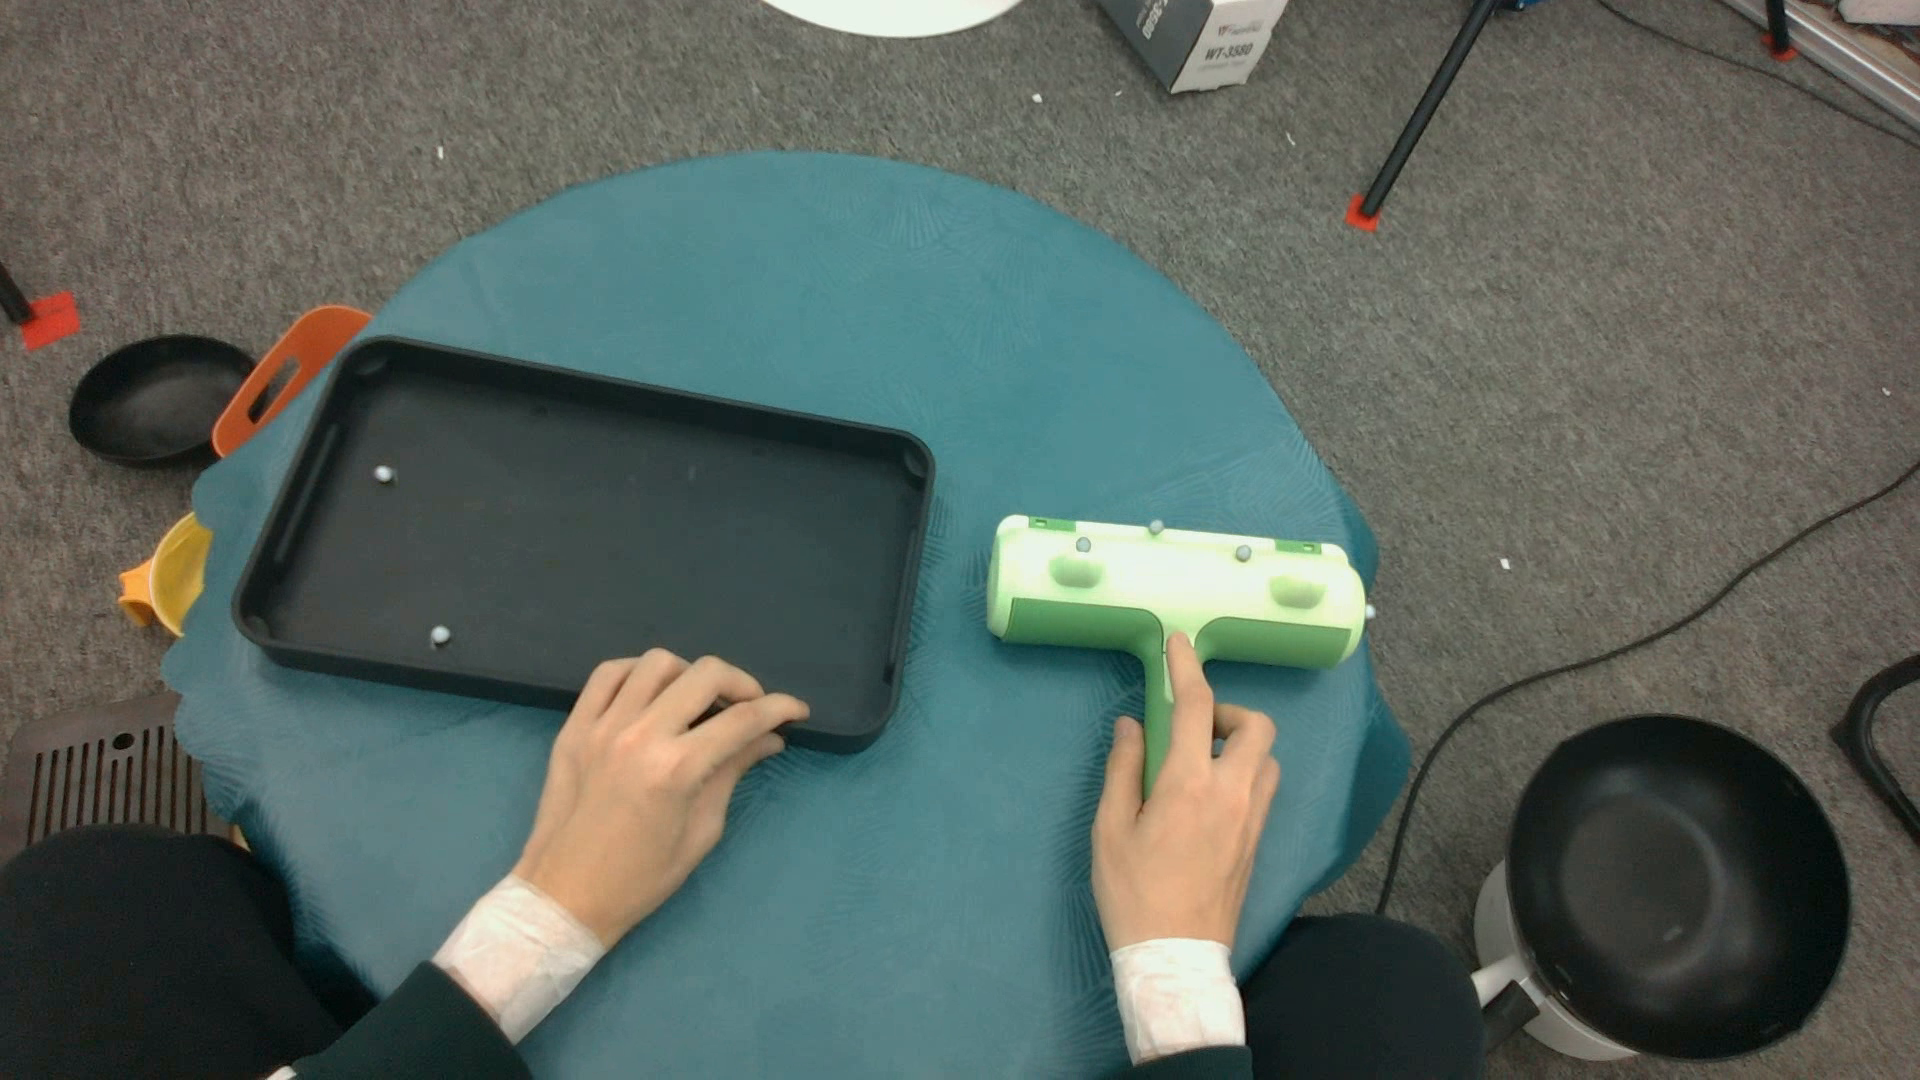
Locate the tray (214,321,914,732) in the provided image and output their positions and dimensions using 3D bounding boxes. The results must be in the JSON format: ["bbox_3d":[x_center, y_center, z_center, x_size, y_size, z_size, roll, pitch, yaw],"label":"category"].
[{"bbox_3d":[-0.190,-0.008,0.708,0.318,0.037,0.185,9,61,-5],"label":"tray"}]

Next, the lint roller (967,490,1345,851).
[{"bbox_3d":[0.104,0.057,0.694,0.199,0.082,0.184,4,56,-6],"label":"lint roller"}]
